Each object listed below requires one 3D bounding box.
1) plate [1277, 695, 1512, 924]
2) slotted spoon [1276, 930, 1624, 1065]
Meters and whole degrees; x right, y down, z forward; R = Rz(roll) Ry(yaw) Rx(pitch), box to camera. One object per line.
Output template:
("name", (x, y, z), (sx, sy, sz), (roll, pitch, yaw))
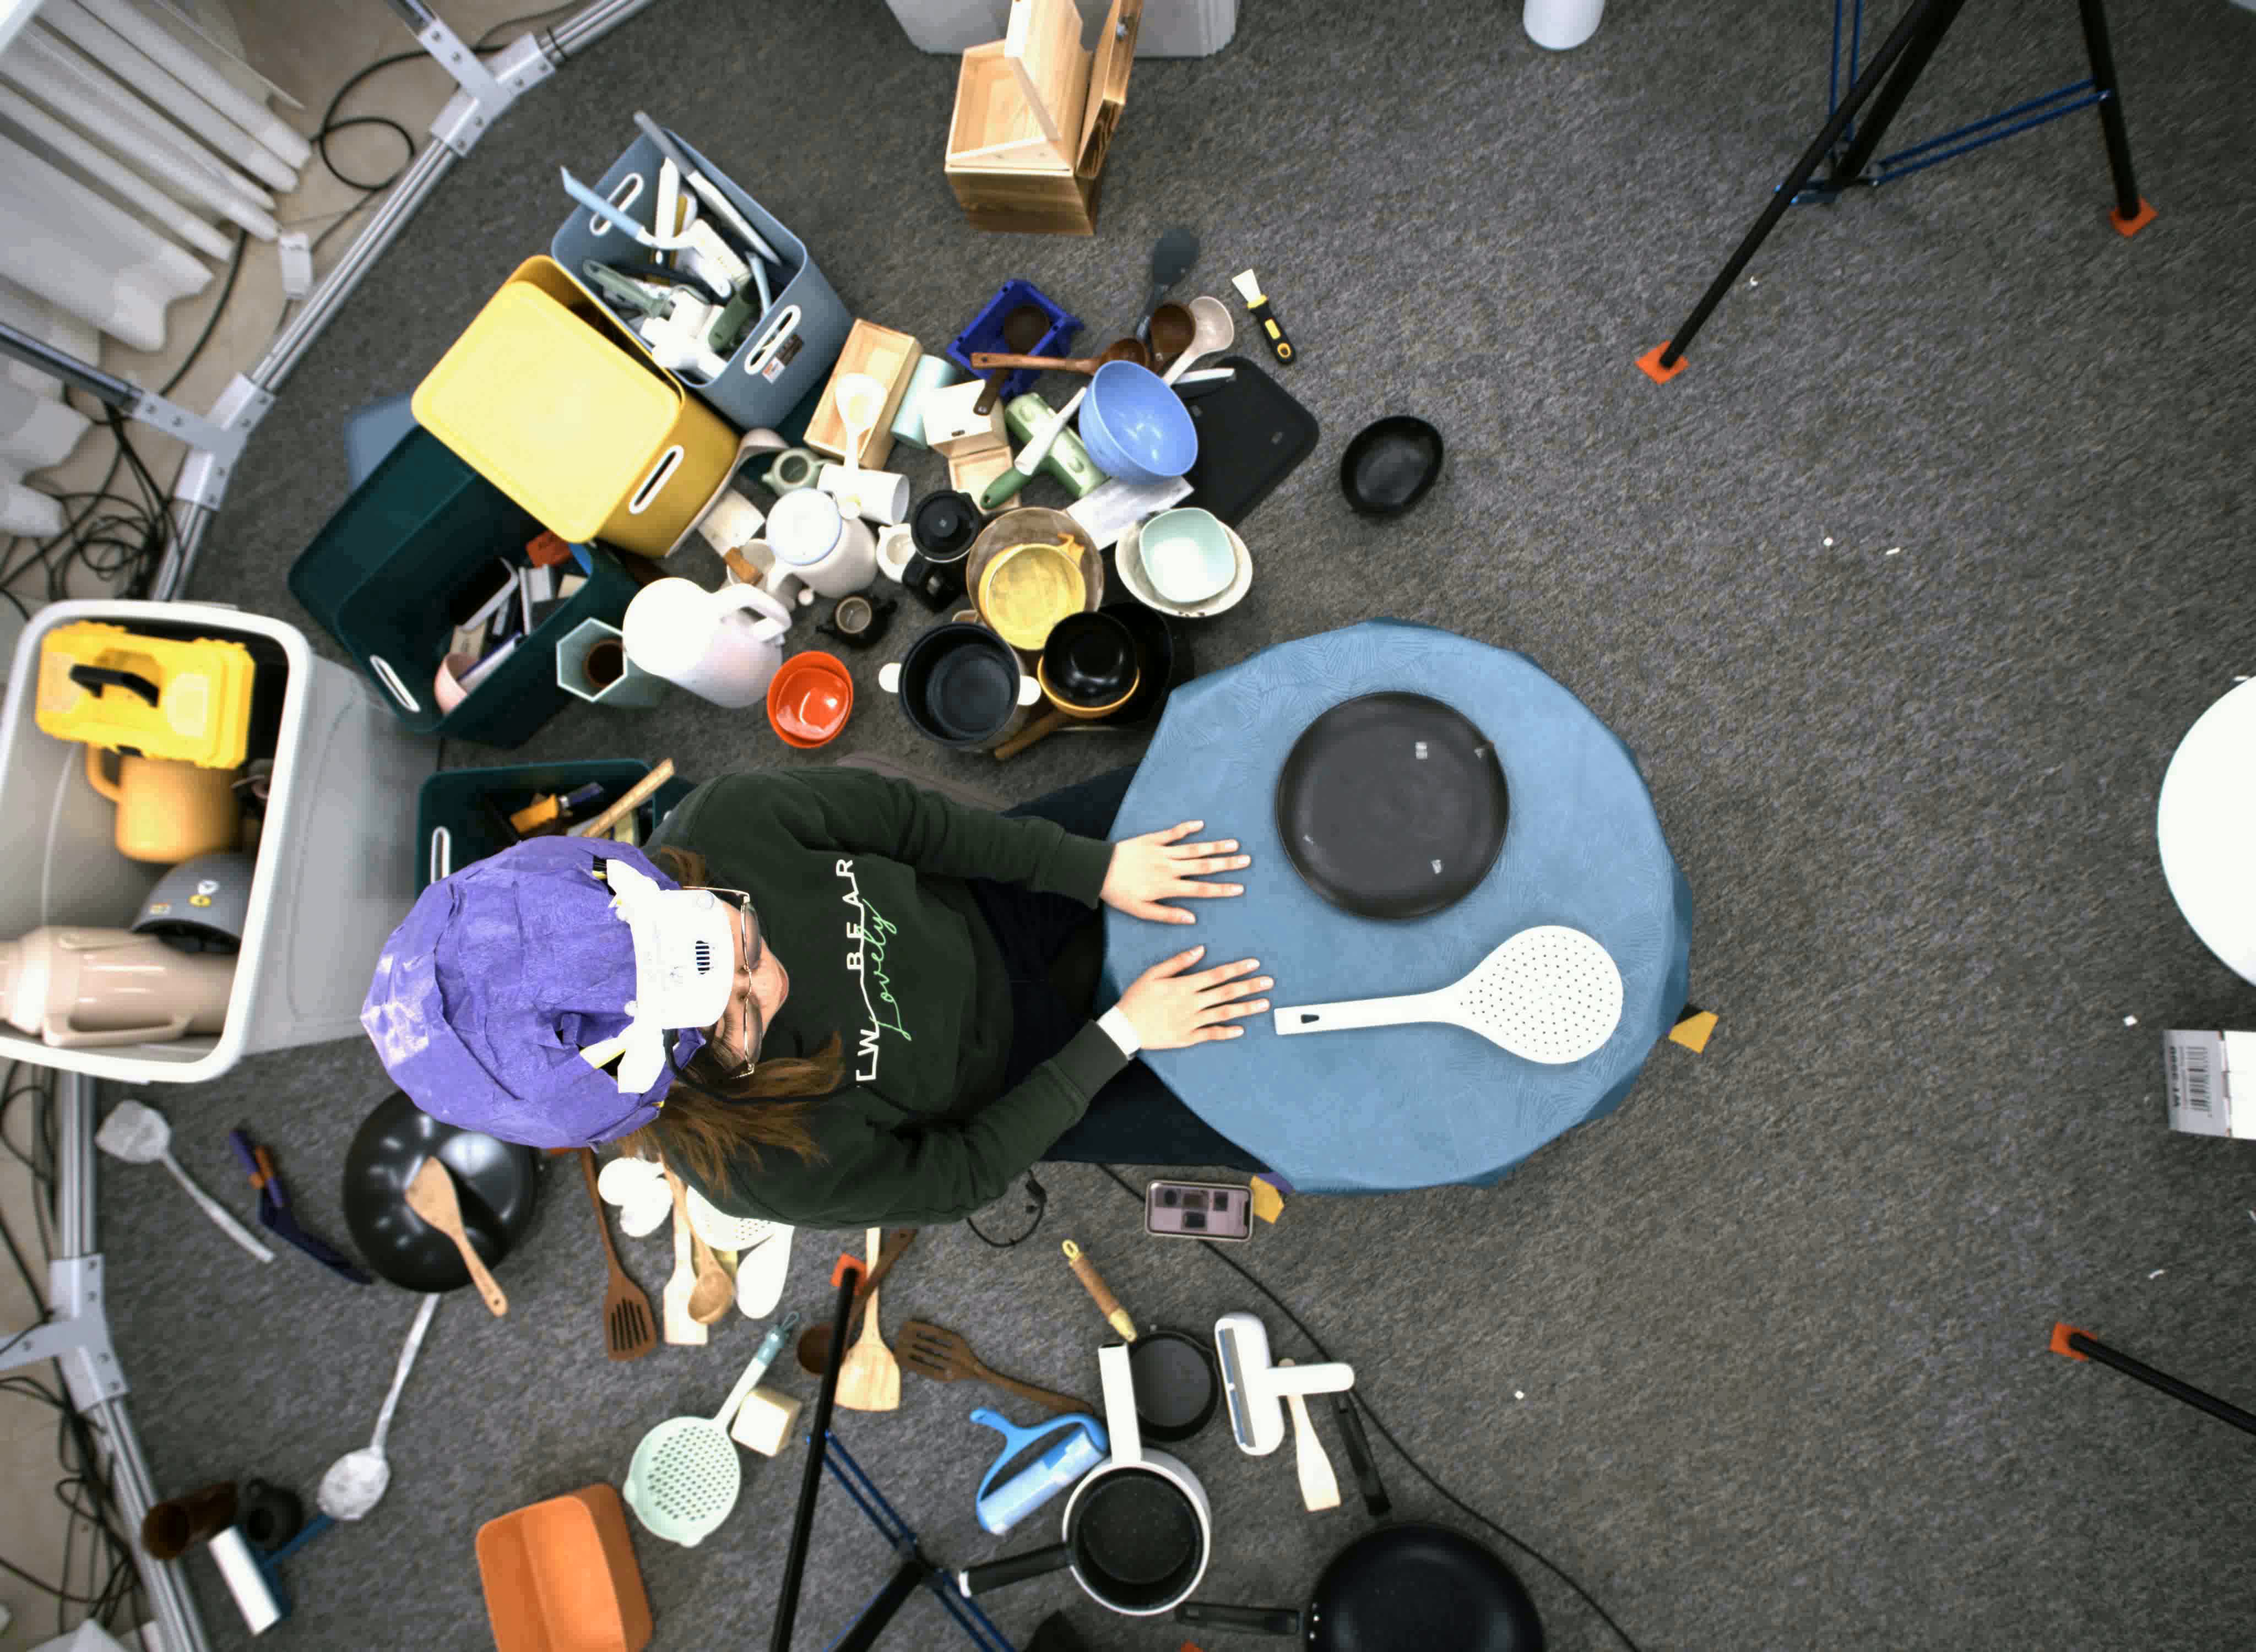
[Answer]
("plate", (0.281, -0.019, 1.457), (0.245, 0.023, 0.243), (-1, 86, 10))
("slotted spoon", (0.327, 0.186, 1.424), (0.351, 0.046, 0.135), (-7, 83, 11))
